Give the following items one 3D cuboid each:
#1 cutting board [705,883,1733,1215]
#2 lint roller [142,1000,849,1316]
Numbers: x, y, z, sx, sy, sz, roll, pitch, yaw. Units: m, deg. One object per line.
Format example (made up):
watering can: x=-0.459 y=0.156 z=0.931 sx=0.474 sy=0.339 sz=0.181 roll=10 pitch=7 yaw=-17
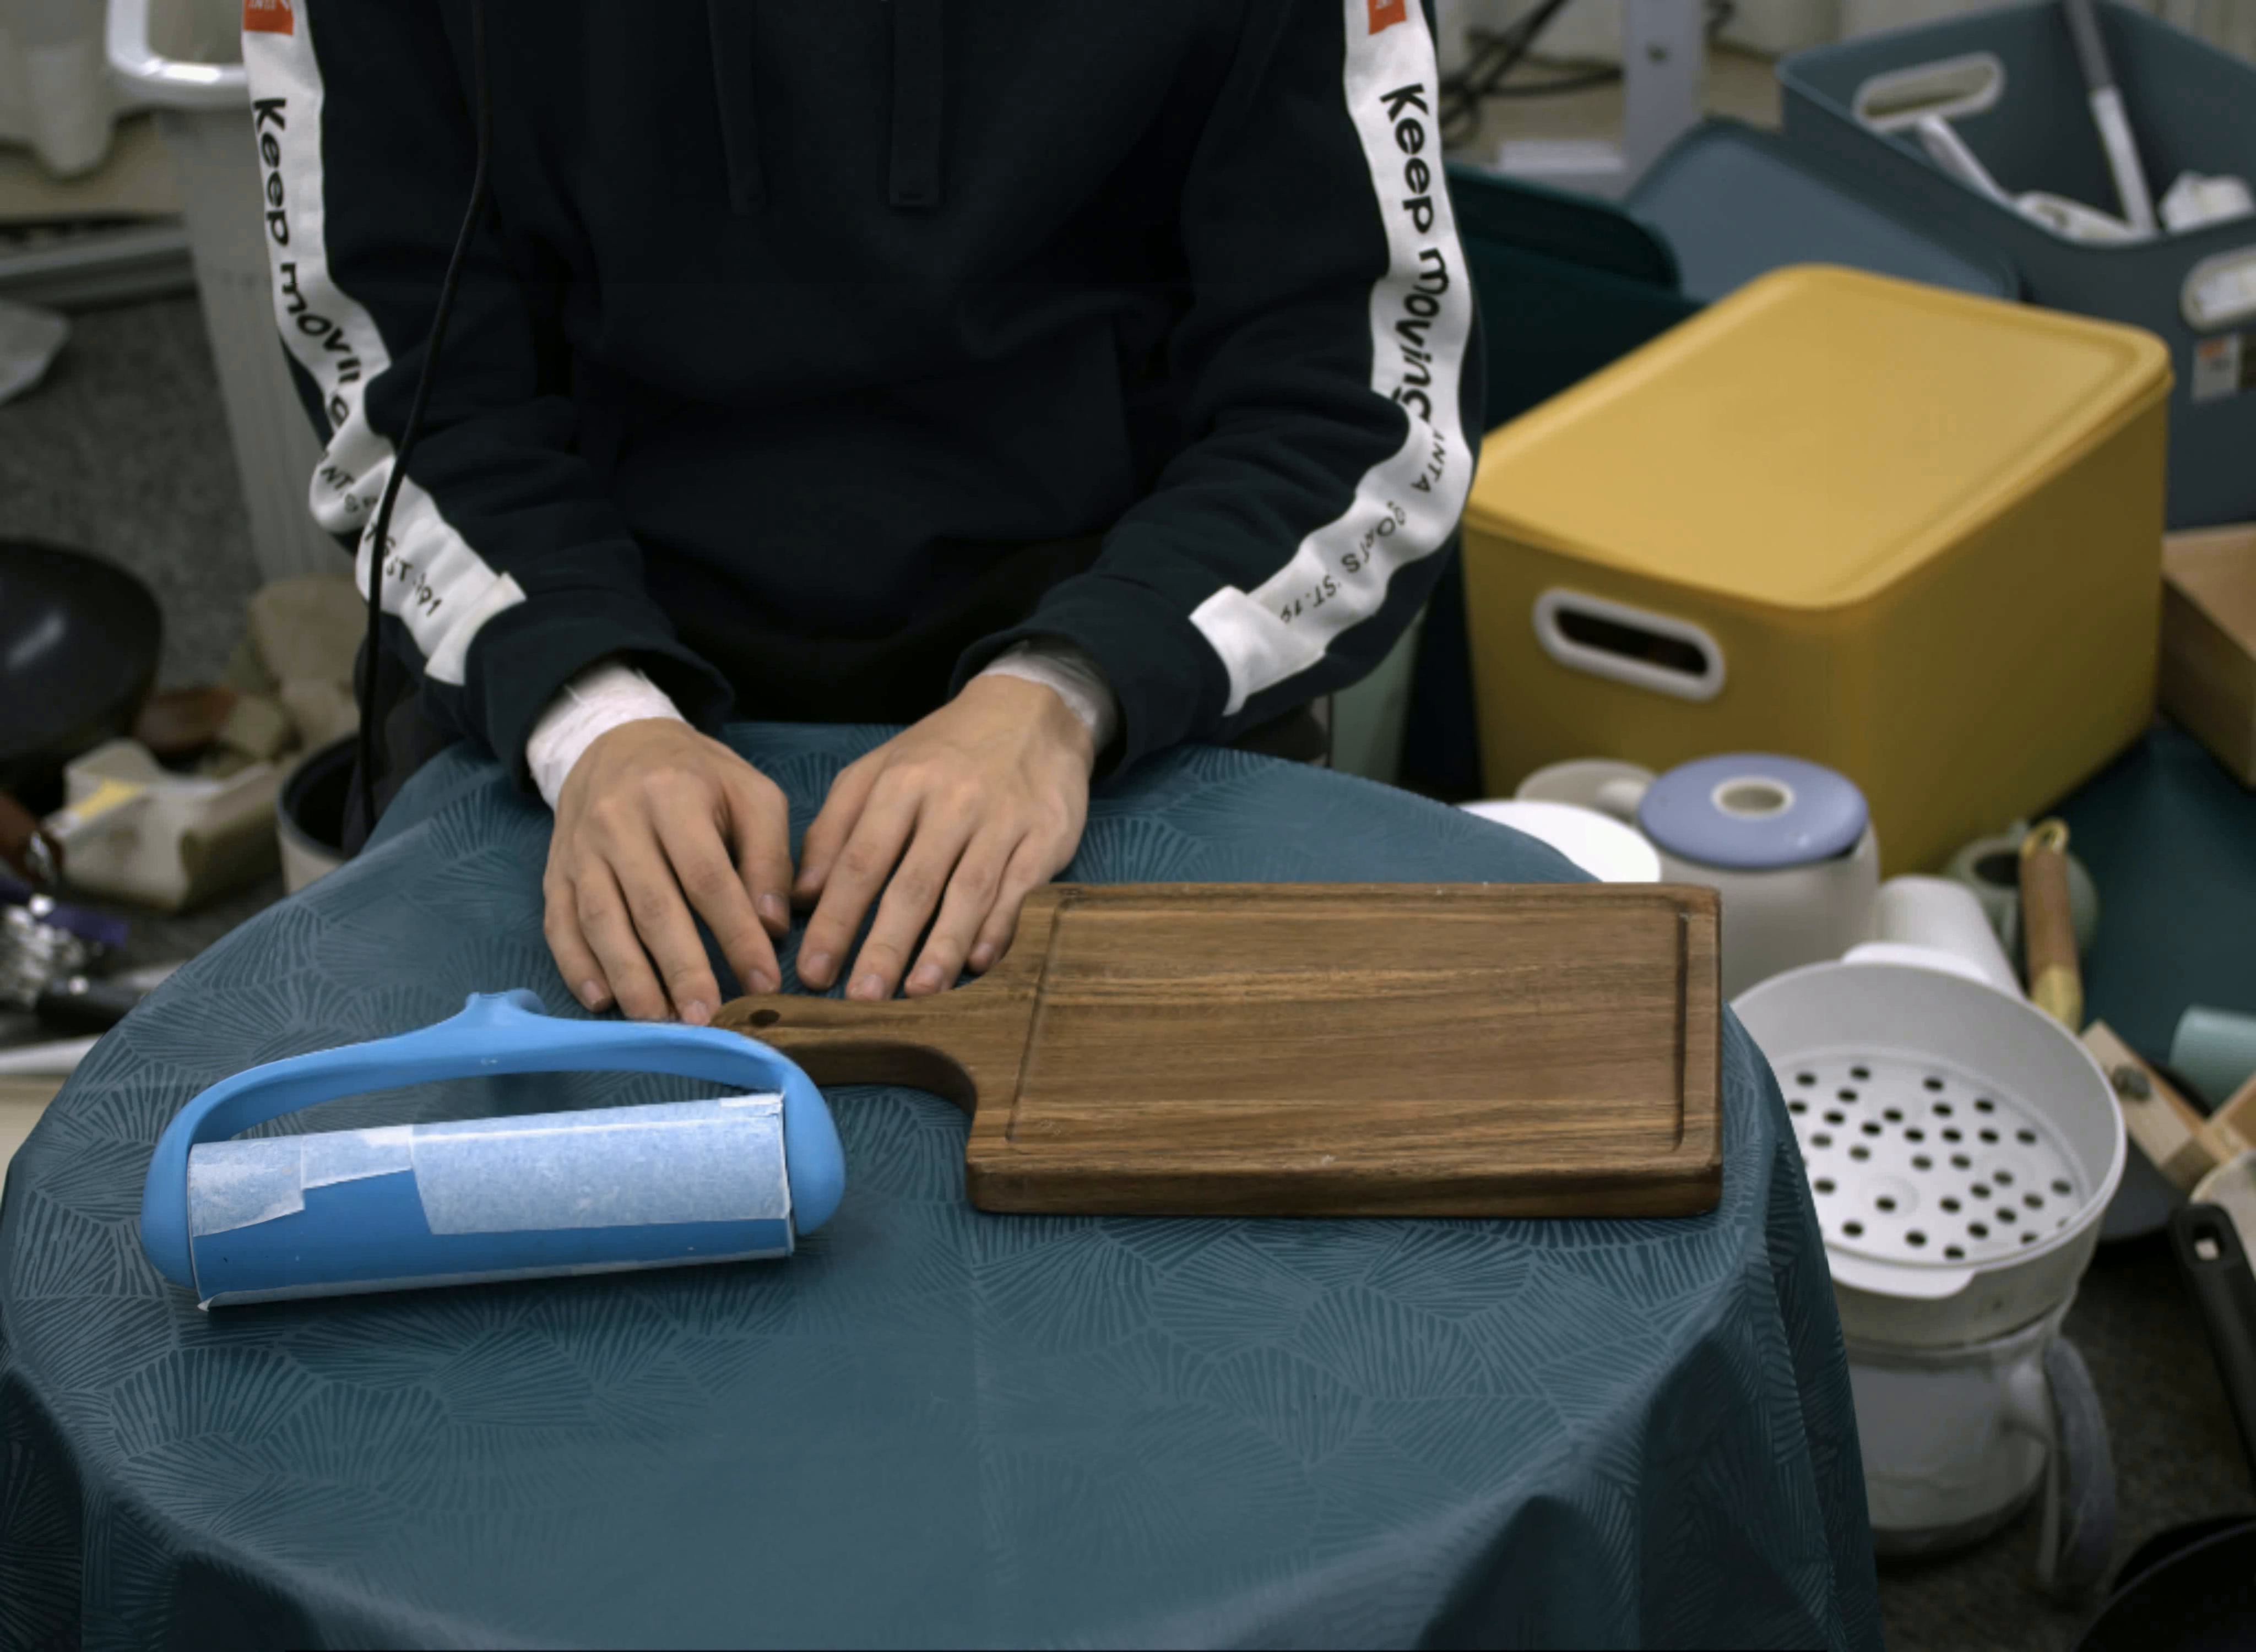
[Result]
cutting board: x=0.029 y=0.074 z=1.925 sx=0.350 sy=0.023 sz=0.204 roll=0 pitch=27 yaw=5
lint roller: x=-0.212 y=0.094 z=1.873 sx=0.228 sy=0.067 sz=0.183 roll=-7 pitch=29 yaw=-5
